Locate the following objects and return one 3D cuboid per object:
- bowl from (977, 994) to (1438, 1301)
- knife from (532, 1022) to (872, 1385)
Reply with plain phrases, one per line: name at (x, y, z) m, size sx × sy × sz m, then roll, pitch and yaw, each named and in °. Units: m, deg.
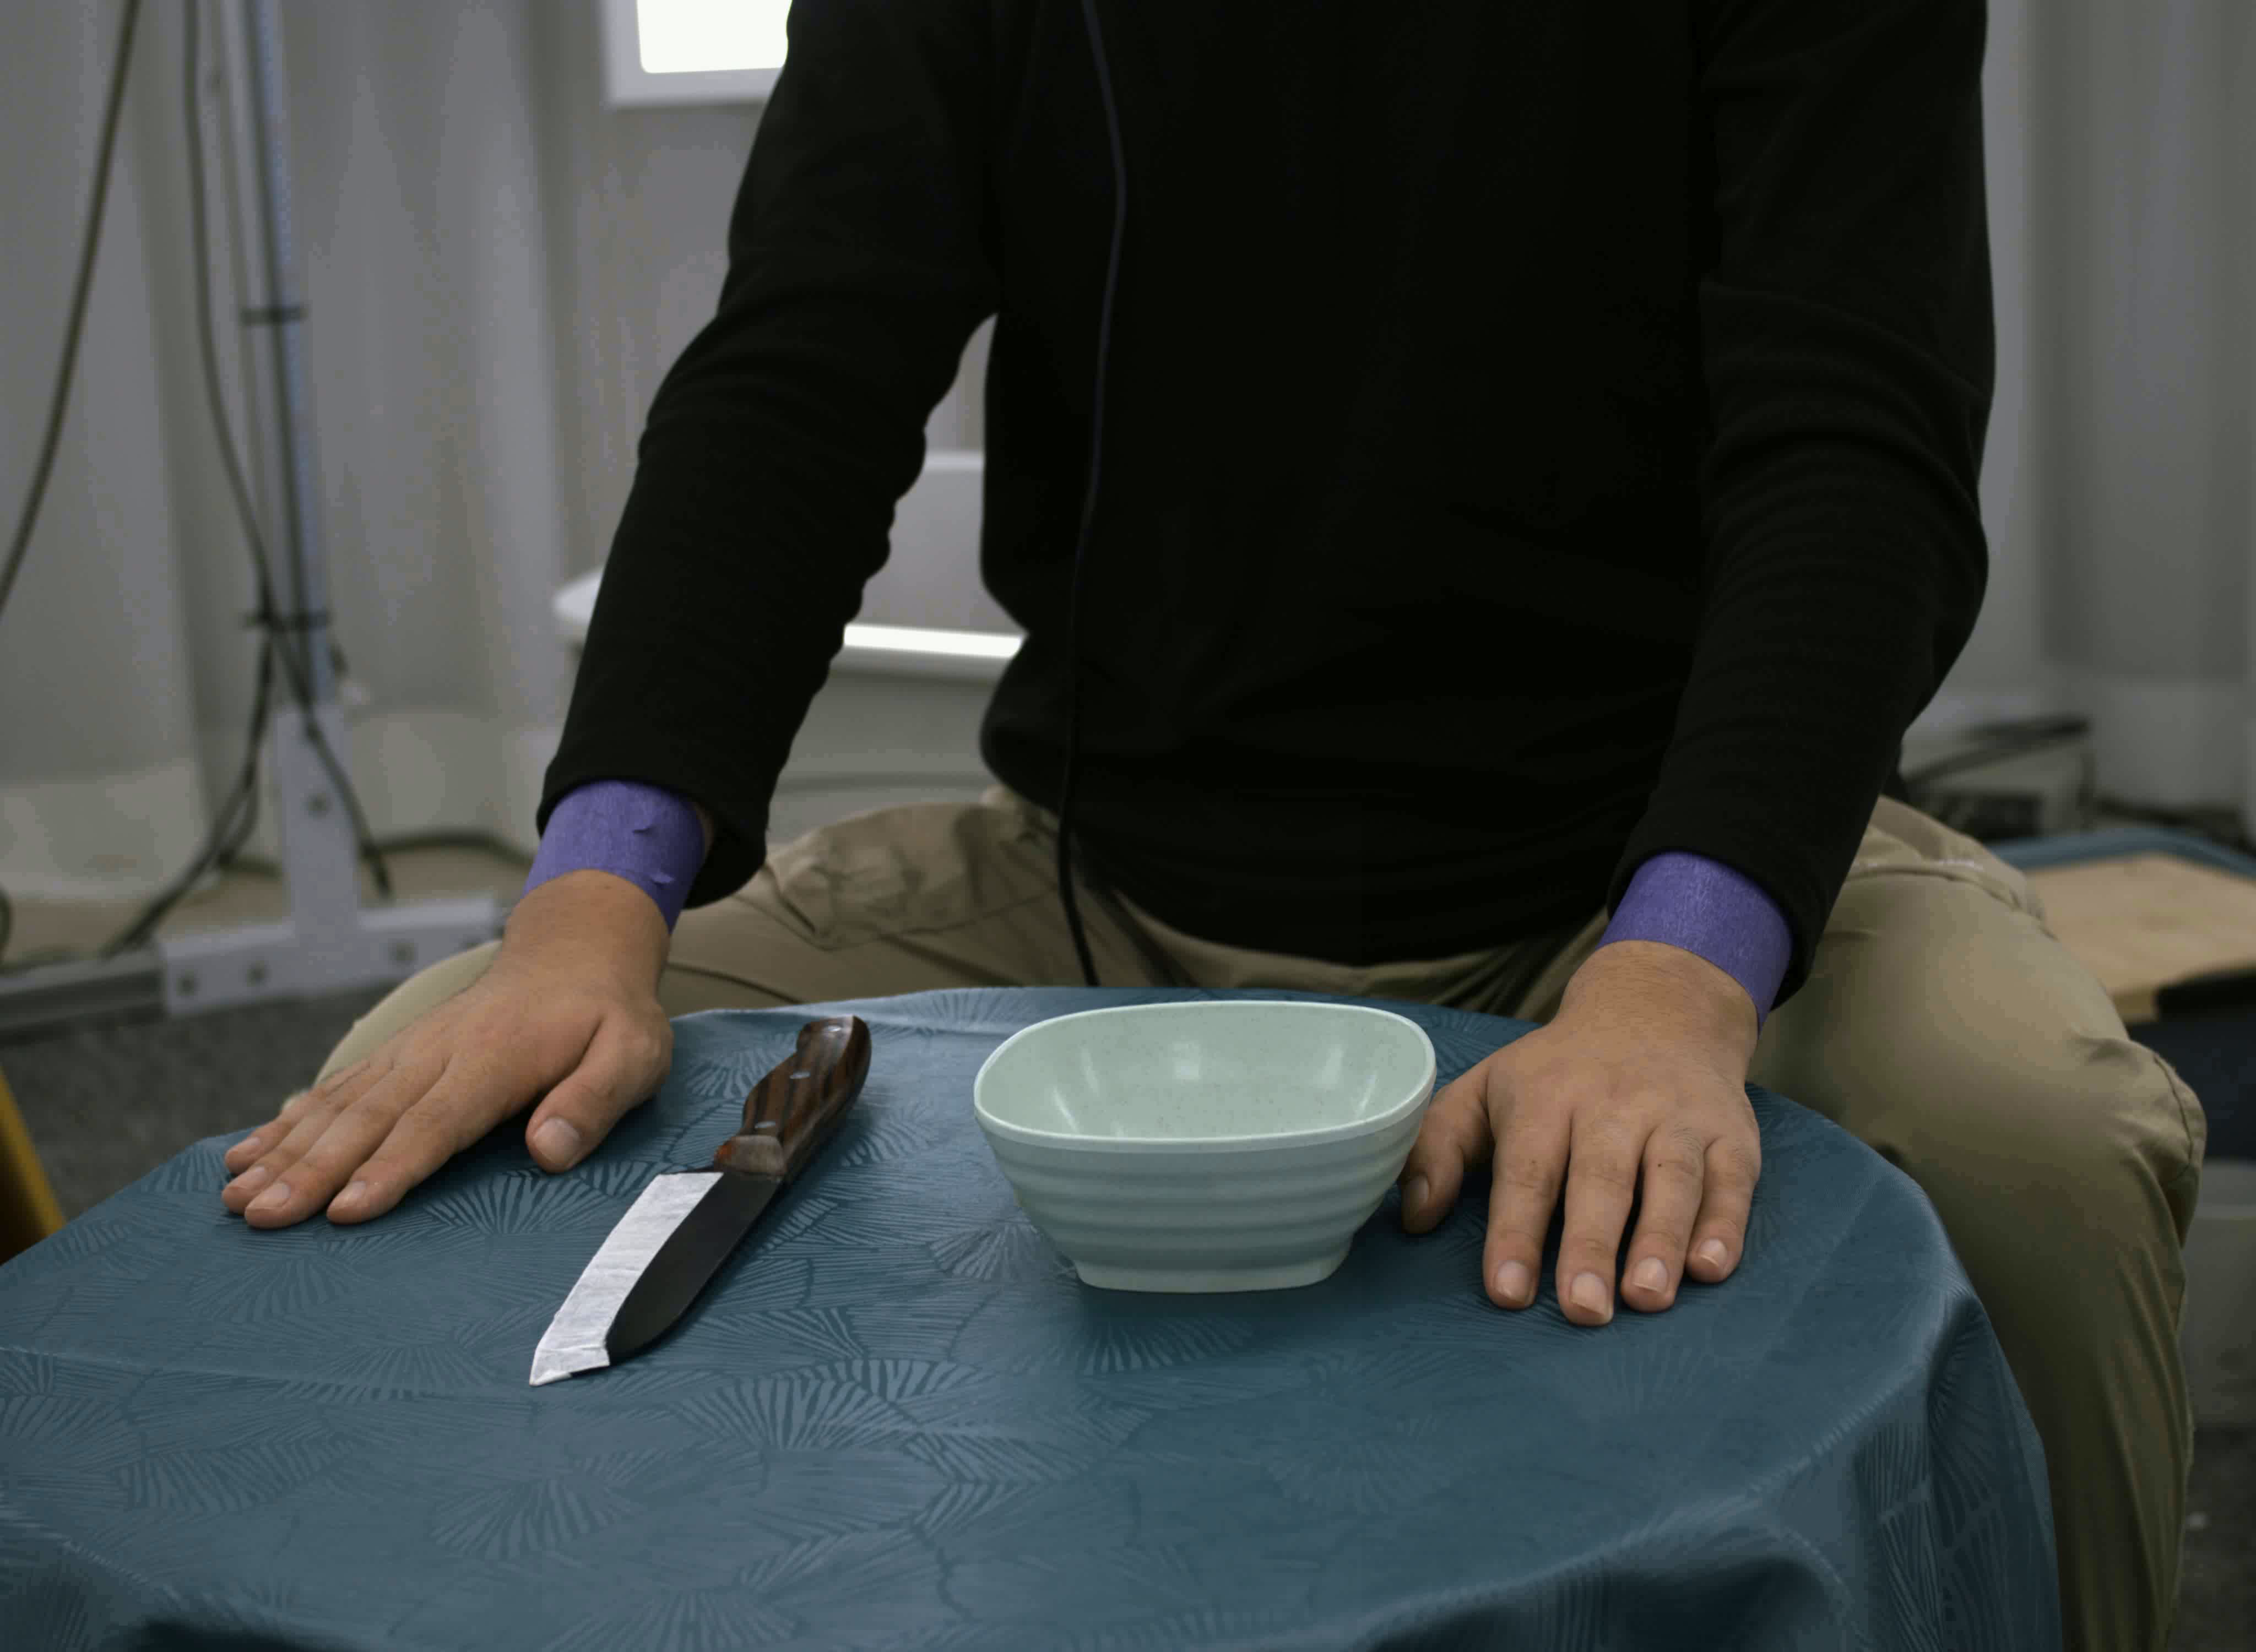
bowl at (0.025, 0.101, 1.653) m, size 0.151 × 0.058 × 0.152 m, roll -3°, pitch 17°, yaw 1°
knife at (-0.130, 0.117, 1.703) m, size 0.050 × 0.020 × 0.290 m, roll -3°, pitch 17°, yaw 16°
